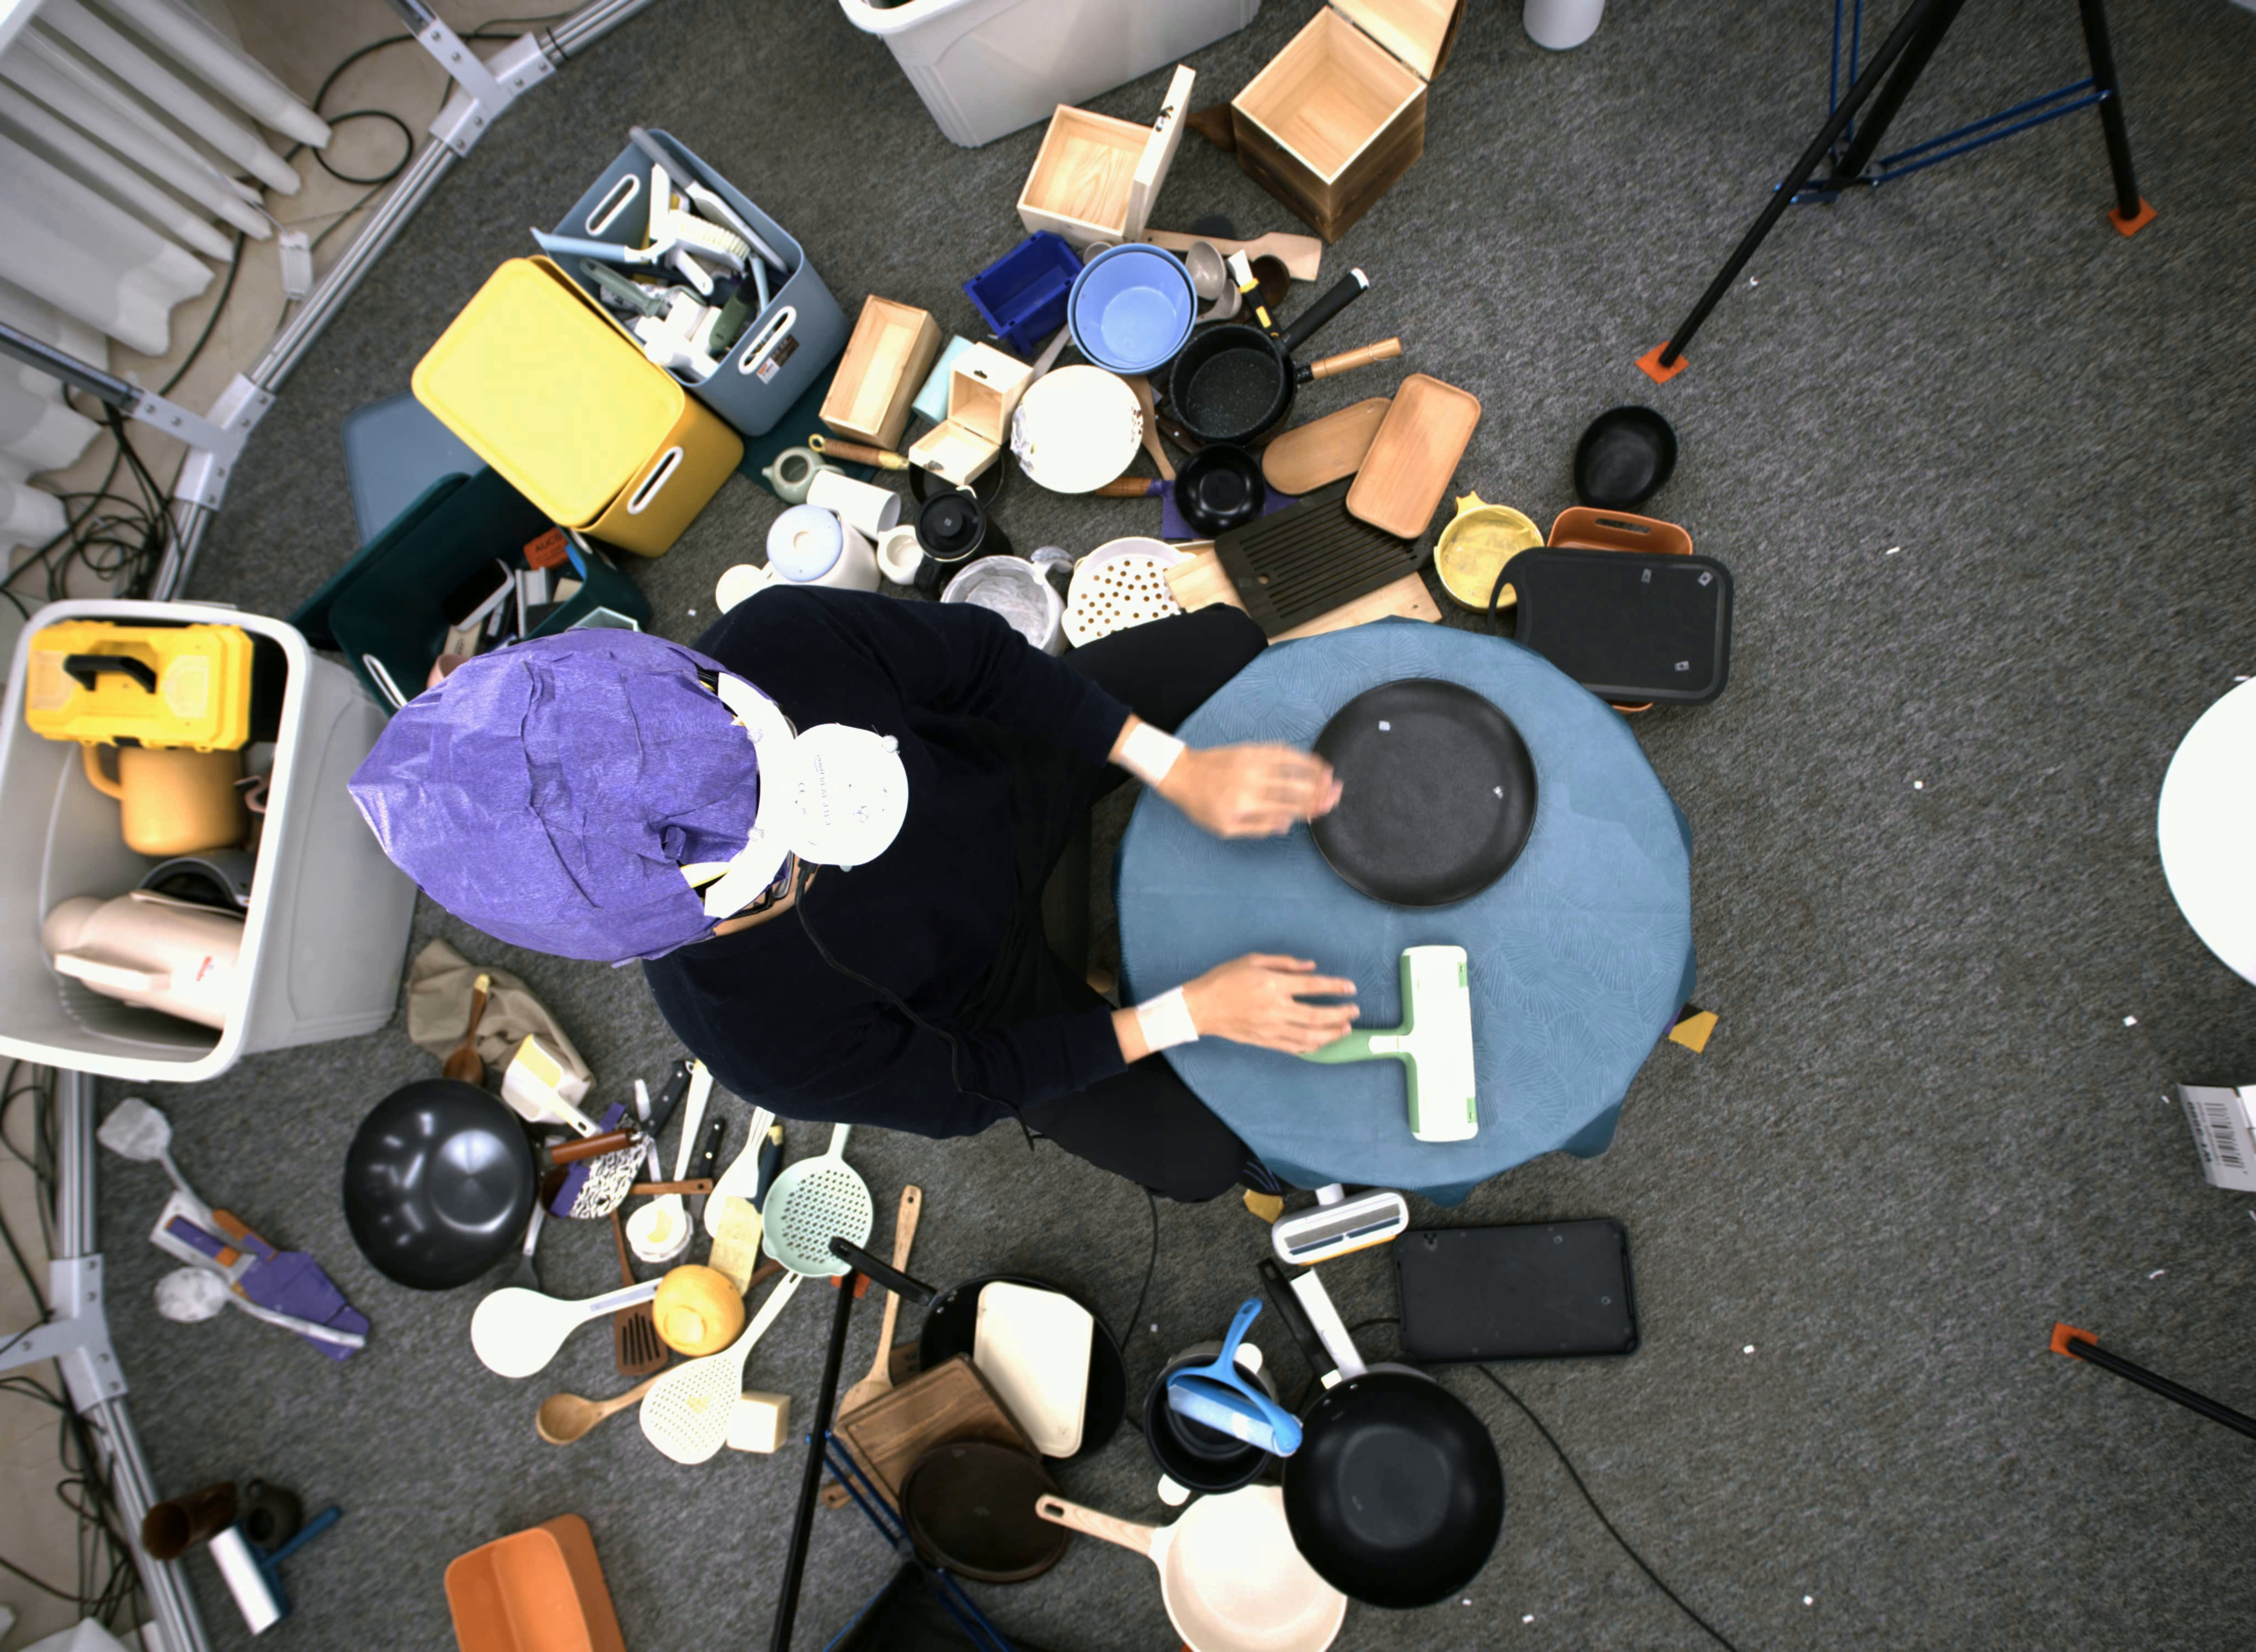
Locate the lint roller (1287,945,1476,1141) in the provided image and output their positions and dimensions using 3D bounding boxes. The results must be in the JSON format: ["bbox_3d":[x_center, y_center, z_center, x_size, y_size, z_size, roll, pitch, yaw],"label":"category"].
[{"bbox_3d":[0.256,0.222,1.410,0.184,0.082,0.197,-3,85,4],"label":"lint roller"}]

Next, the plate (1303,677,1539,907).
[{"bbox_3d":[0.306,-0.037,1.447,0.245,0.023,0.243,-1,87,11],"label":"plate"}]
